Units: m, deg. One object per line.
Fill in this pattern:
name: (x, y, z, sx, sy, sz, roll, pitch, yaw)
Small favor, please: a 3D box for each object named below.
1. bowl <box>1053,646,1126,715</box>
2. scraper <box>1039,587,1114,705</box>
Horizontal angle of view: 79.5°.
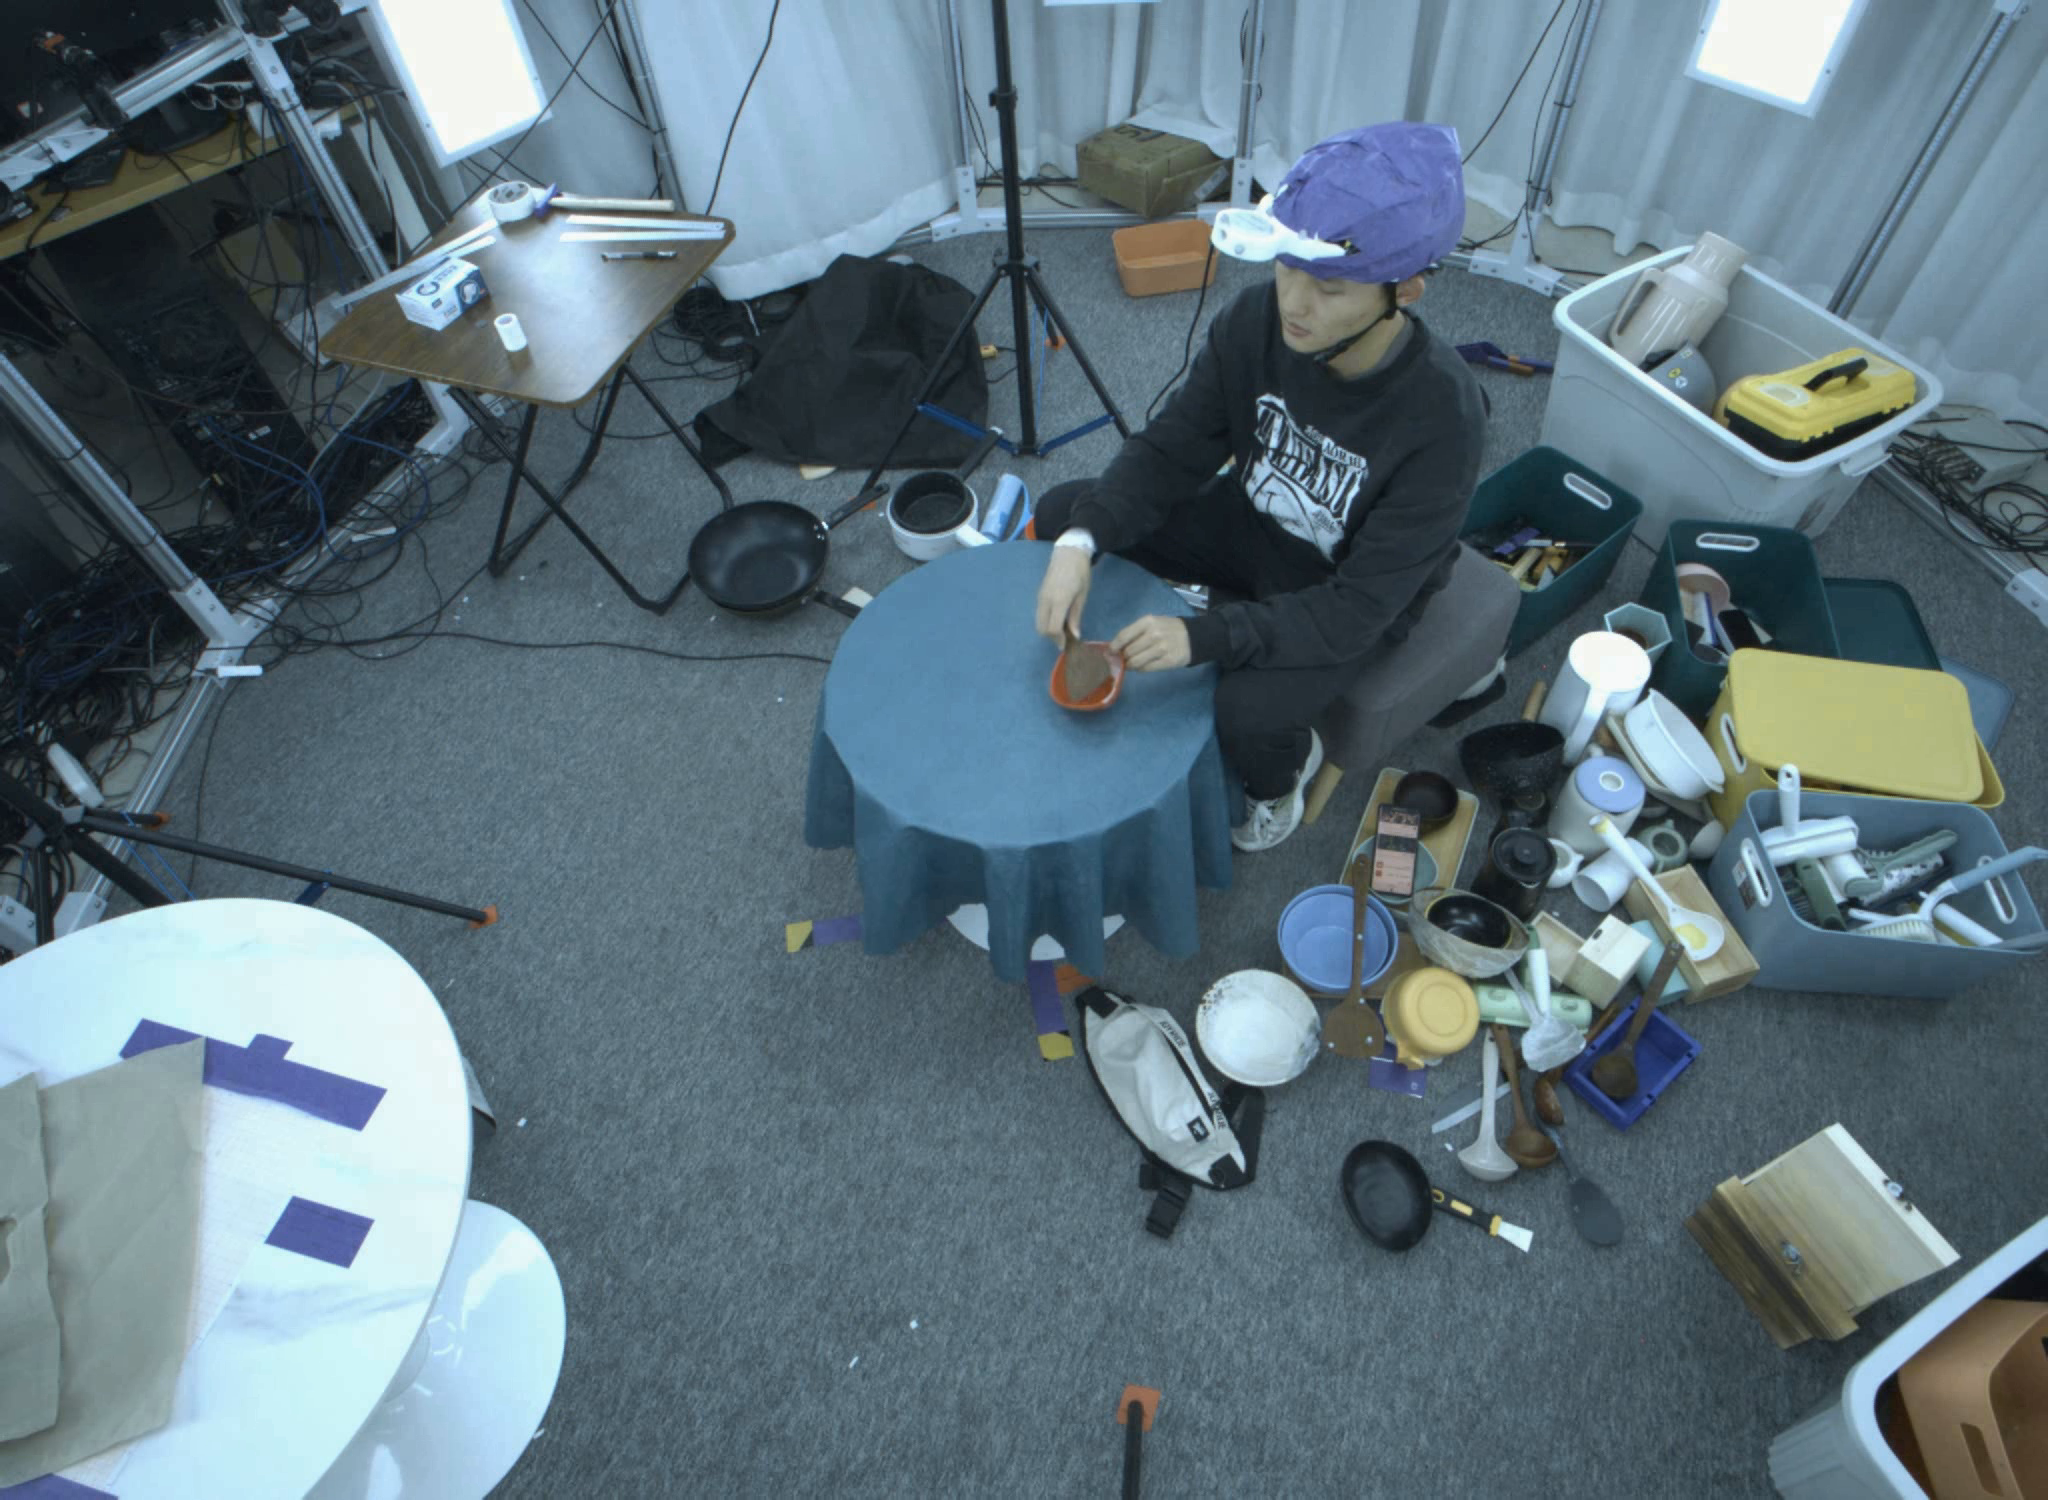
bowl: (0.104, -0.095, 1.818, 0.117, 0.052, 0.118, -11, 59, 20)
scraper: (0.067, -0.160, 1.814, 0.075, 0.011, 0.208, -35, 58, 18)
